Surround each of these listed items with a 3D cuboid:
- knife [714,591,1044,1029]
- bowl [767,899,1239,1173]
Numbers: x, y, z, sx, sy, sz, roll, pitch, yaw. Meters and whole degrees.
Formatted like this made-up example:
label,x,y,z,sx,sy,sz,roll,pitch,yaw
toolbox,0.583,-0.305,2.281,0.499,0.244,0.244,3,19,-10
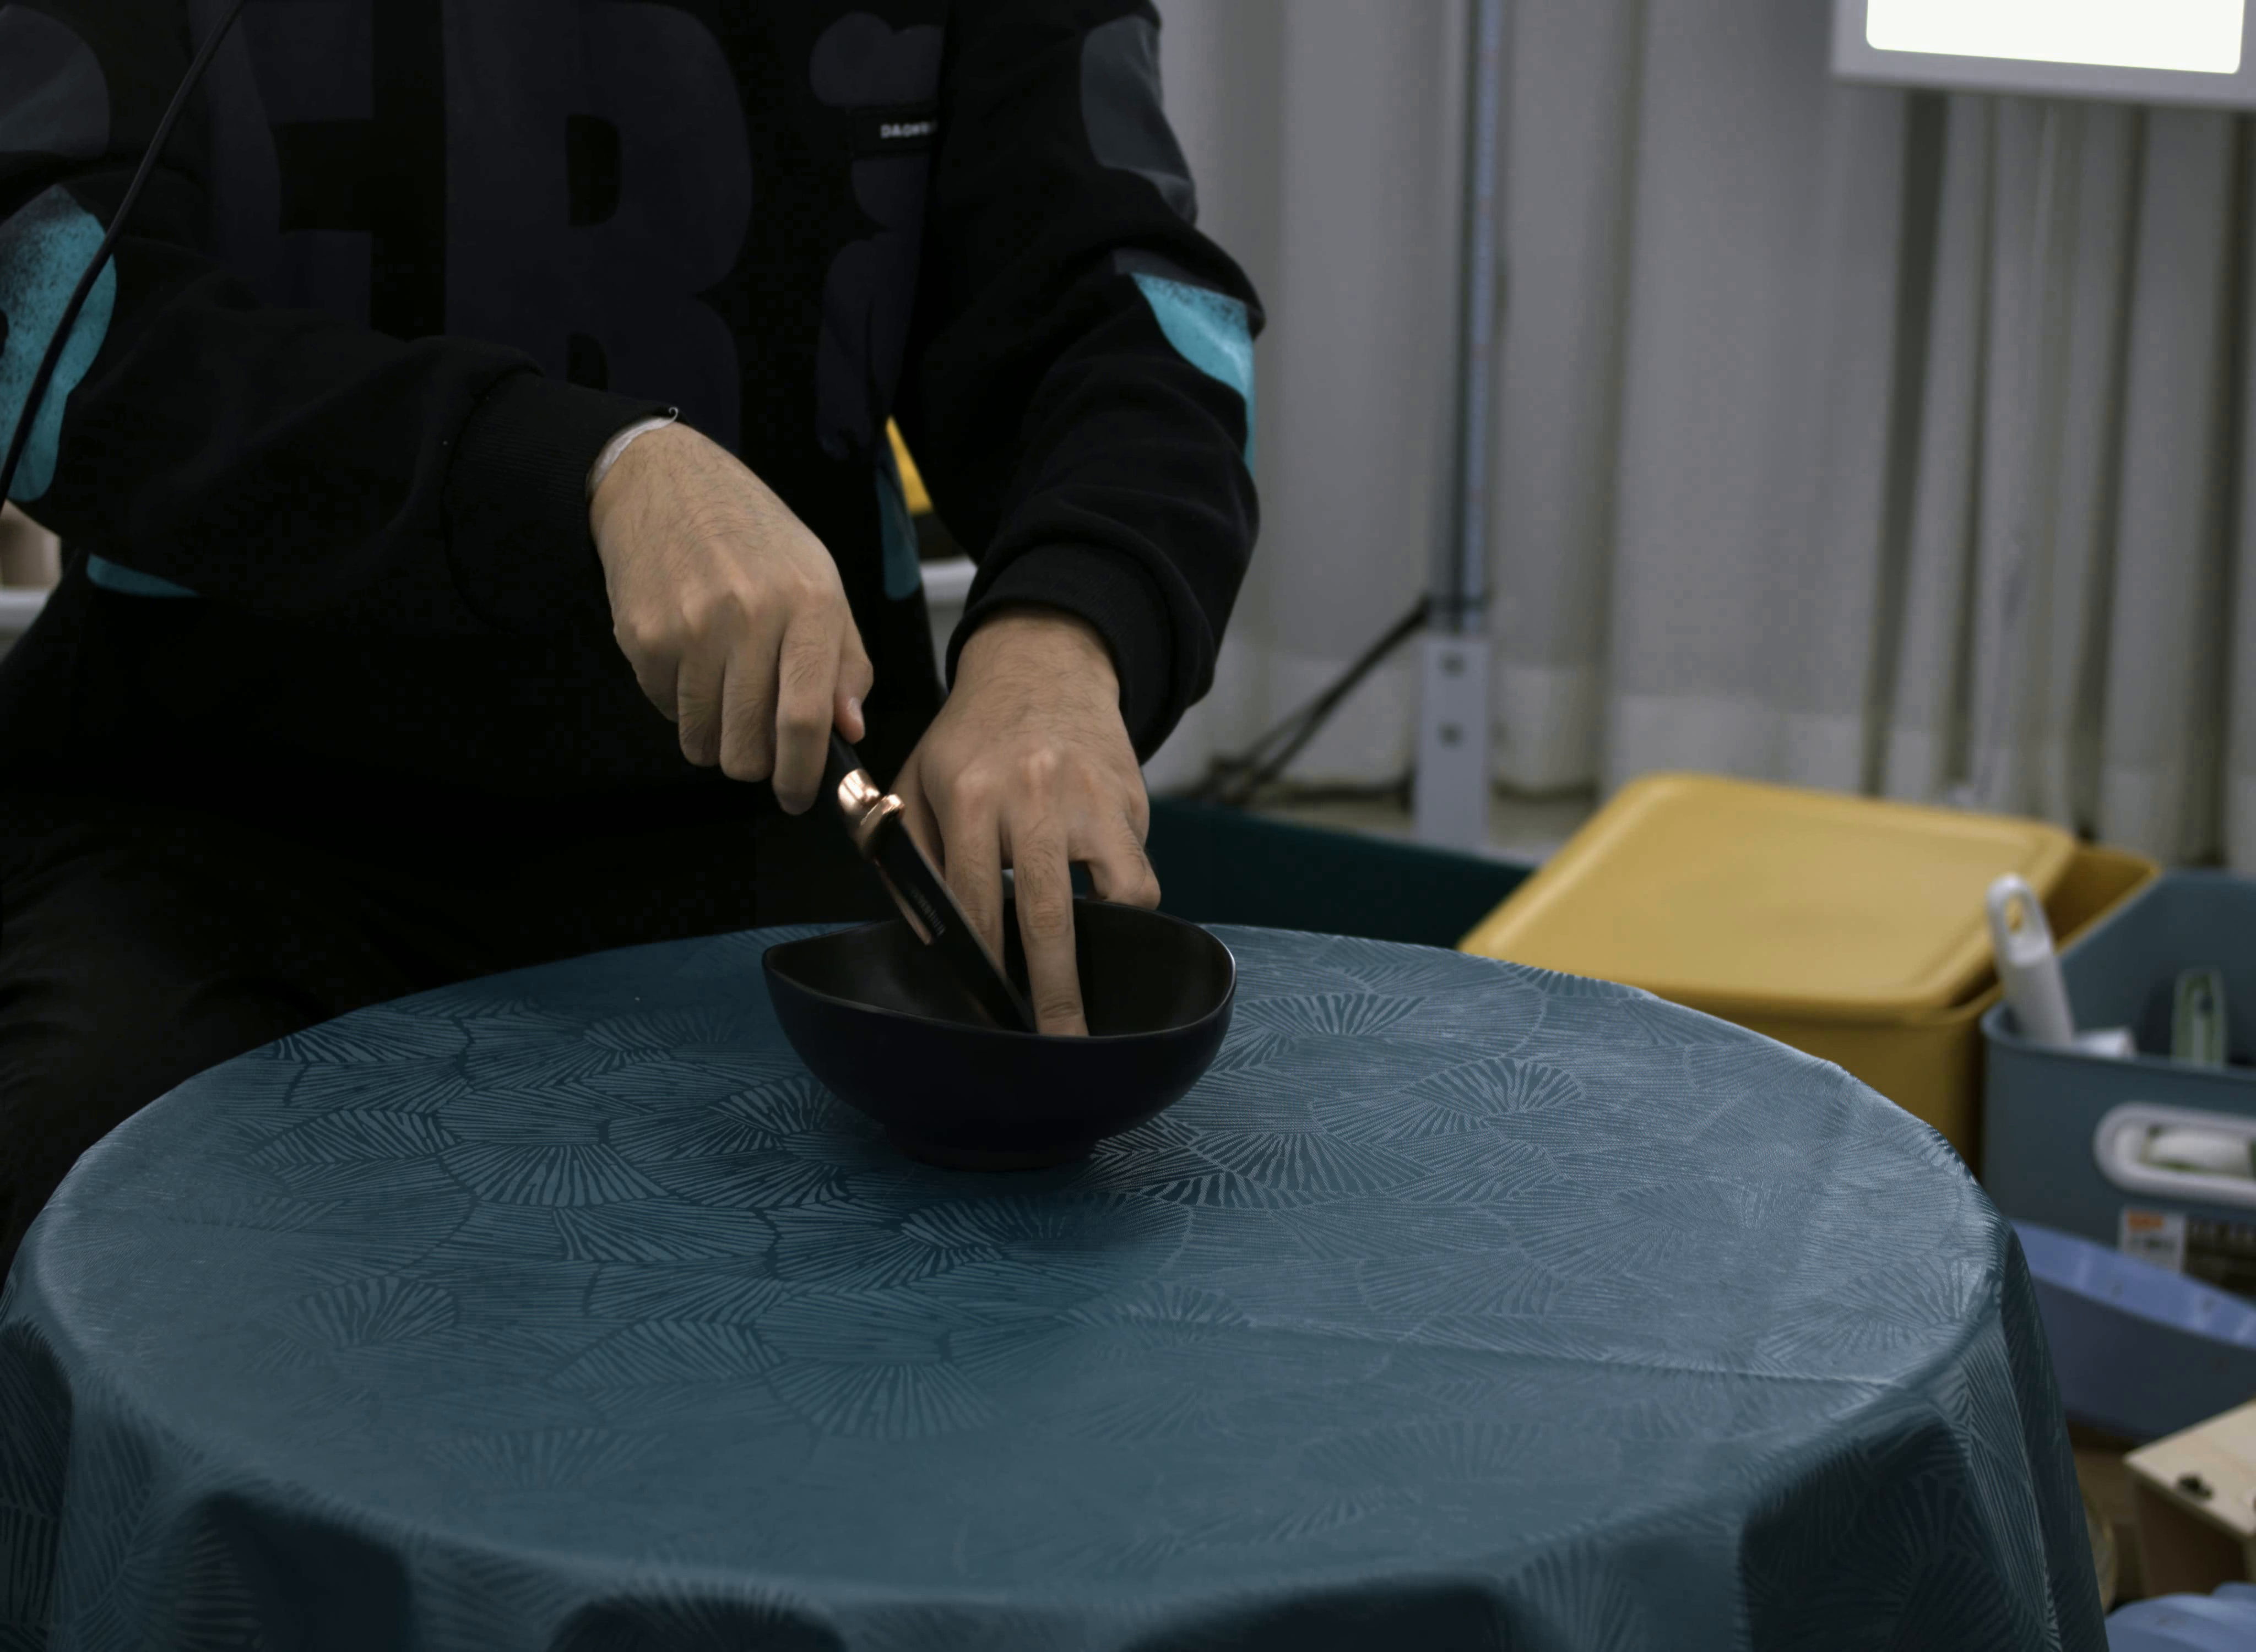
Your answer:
label,x,y,z,sx,sy,sz,roll,pitch,yaw
knife,-0.077,0.004,1.690,0.017,0.026,0.223,-15,55,-32
bowl,-0.041,0.069,1.656,0.138,0.067,0.168,-13,19,-40
